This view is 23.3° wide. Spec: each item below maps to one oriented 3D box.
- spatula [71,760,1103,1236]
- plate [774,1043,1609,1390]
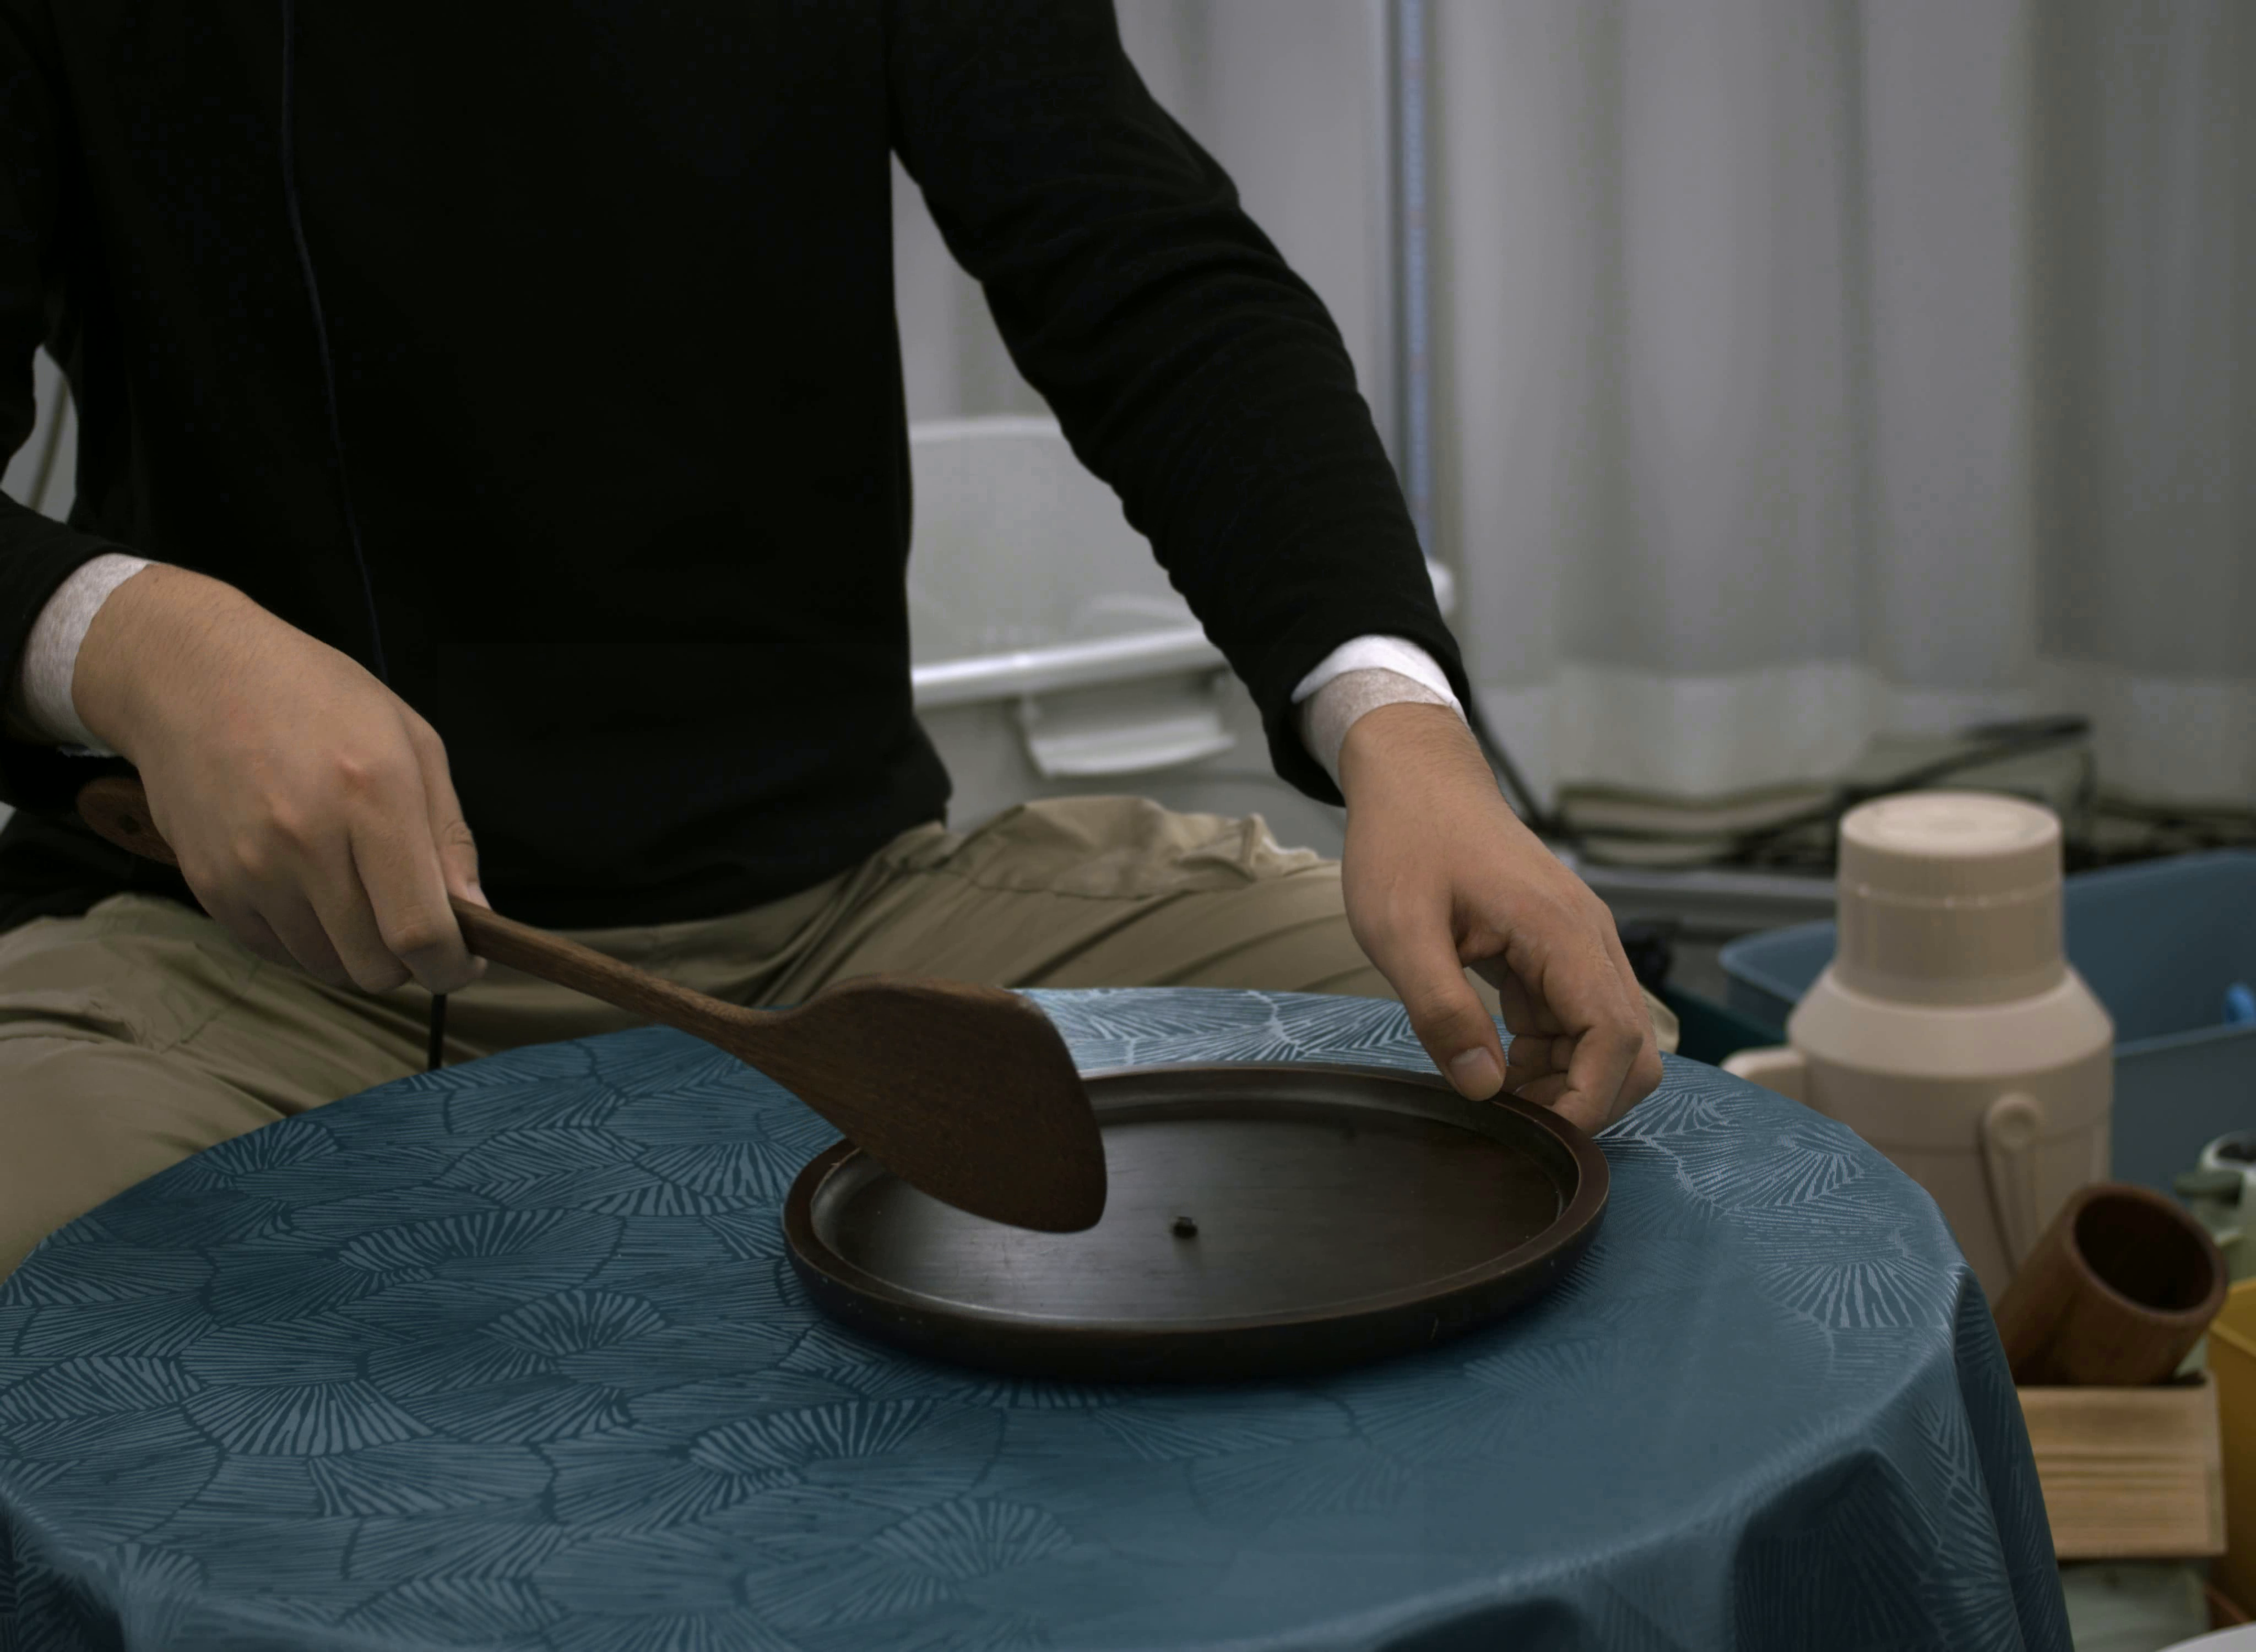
[{"bbox_3d":[-0.169,0.038,1.627,0.388,0.095,0.016,18,46,30],"label":"spatula"},{"bbox_3d":[0.019,0.118,1.651,0.254,0.029,0.256,-4,15,1],"label":"plate"}]
